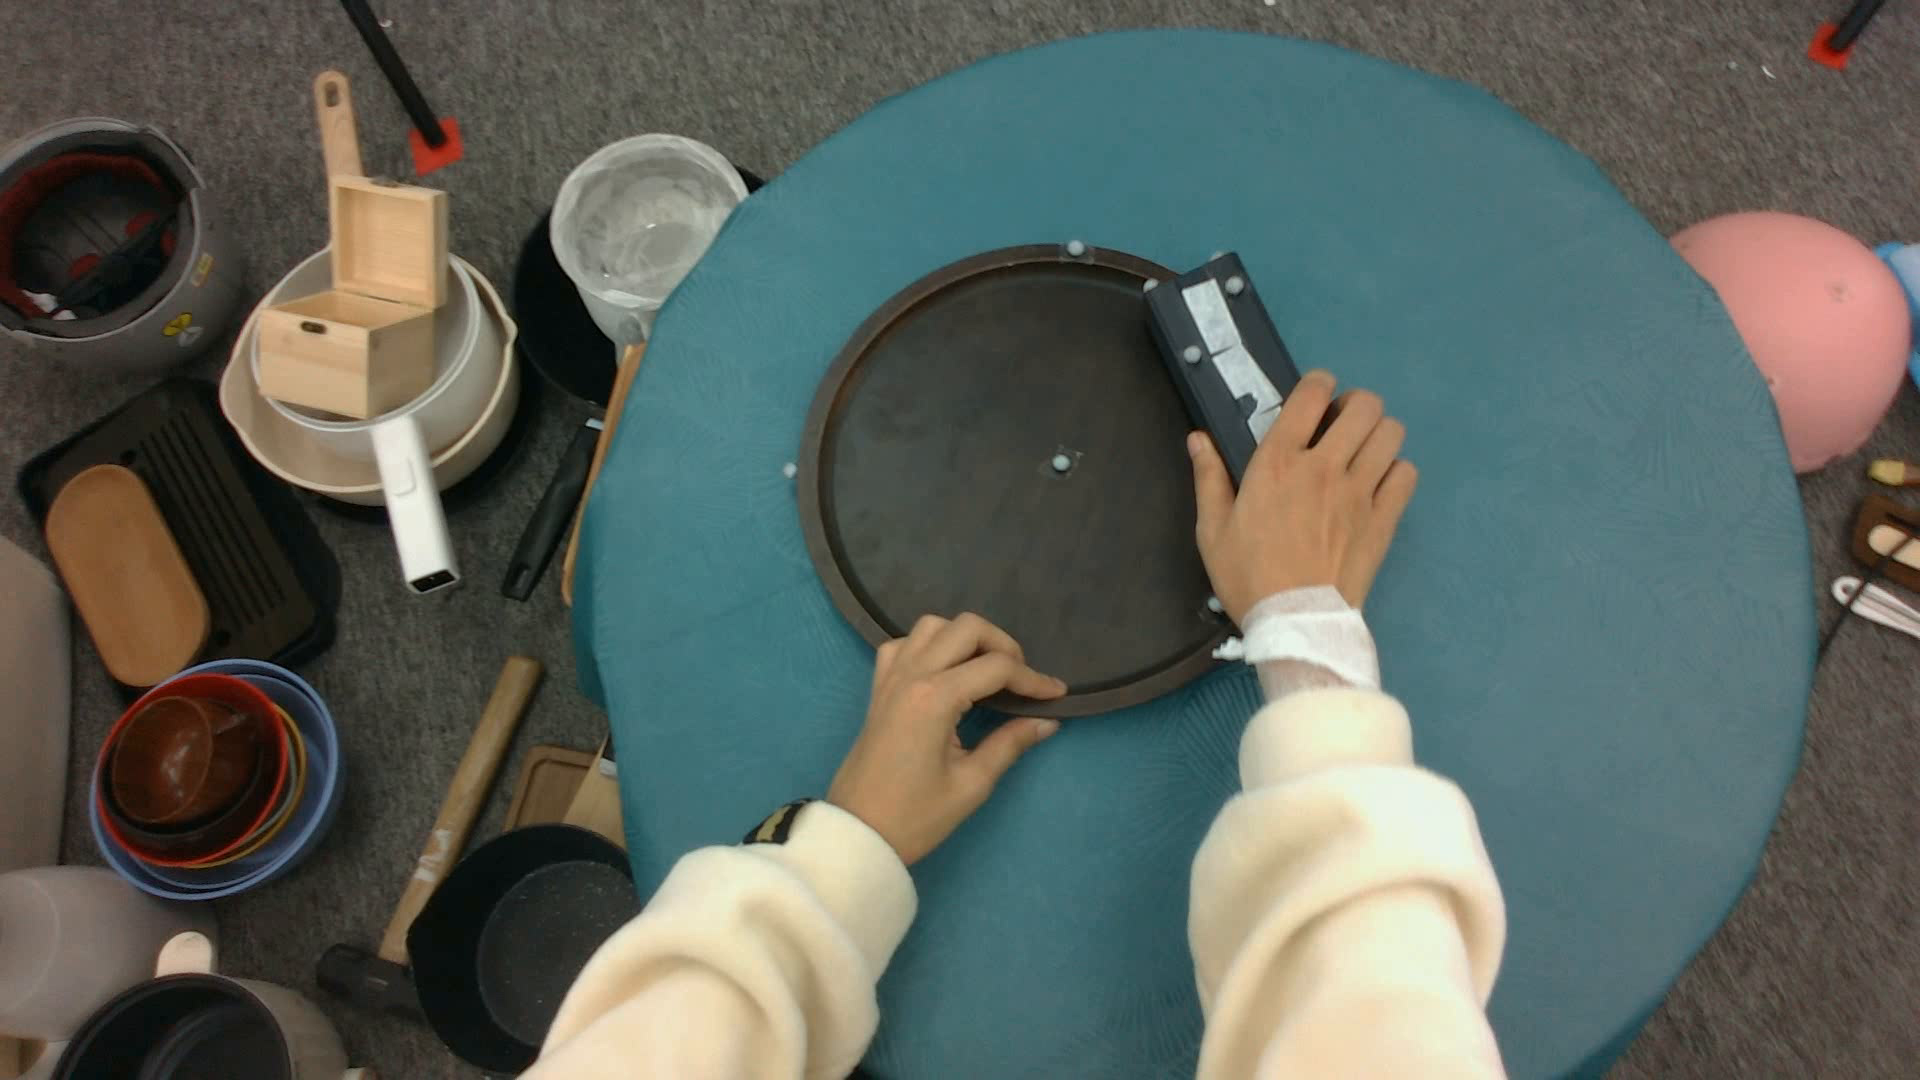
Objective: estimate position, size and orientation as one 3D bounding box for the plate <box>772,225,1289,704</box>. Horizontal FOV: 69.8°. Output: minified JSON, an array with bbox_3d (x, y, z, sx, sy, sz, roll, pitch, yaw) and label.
[{"bbox_3d":[0.035,-0.042,0.682,0.255,0.029,0.255,0,69,0],"label":"plate"}]

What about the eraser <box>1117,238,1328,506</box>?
[{"bbox_3d":[0.127,-0.082,0.673,0.053,0.030,0.126,-25,73,4],"label":"eraser"}]
